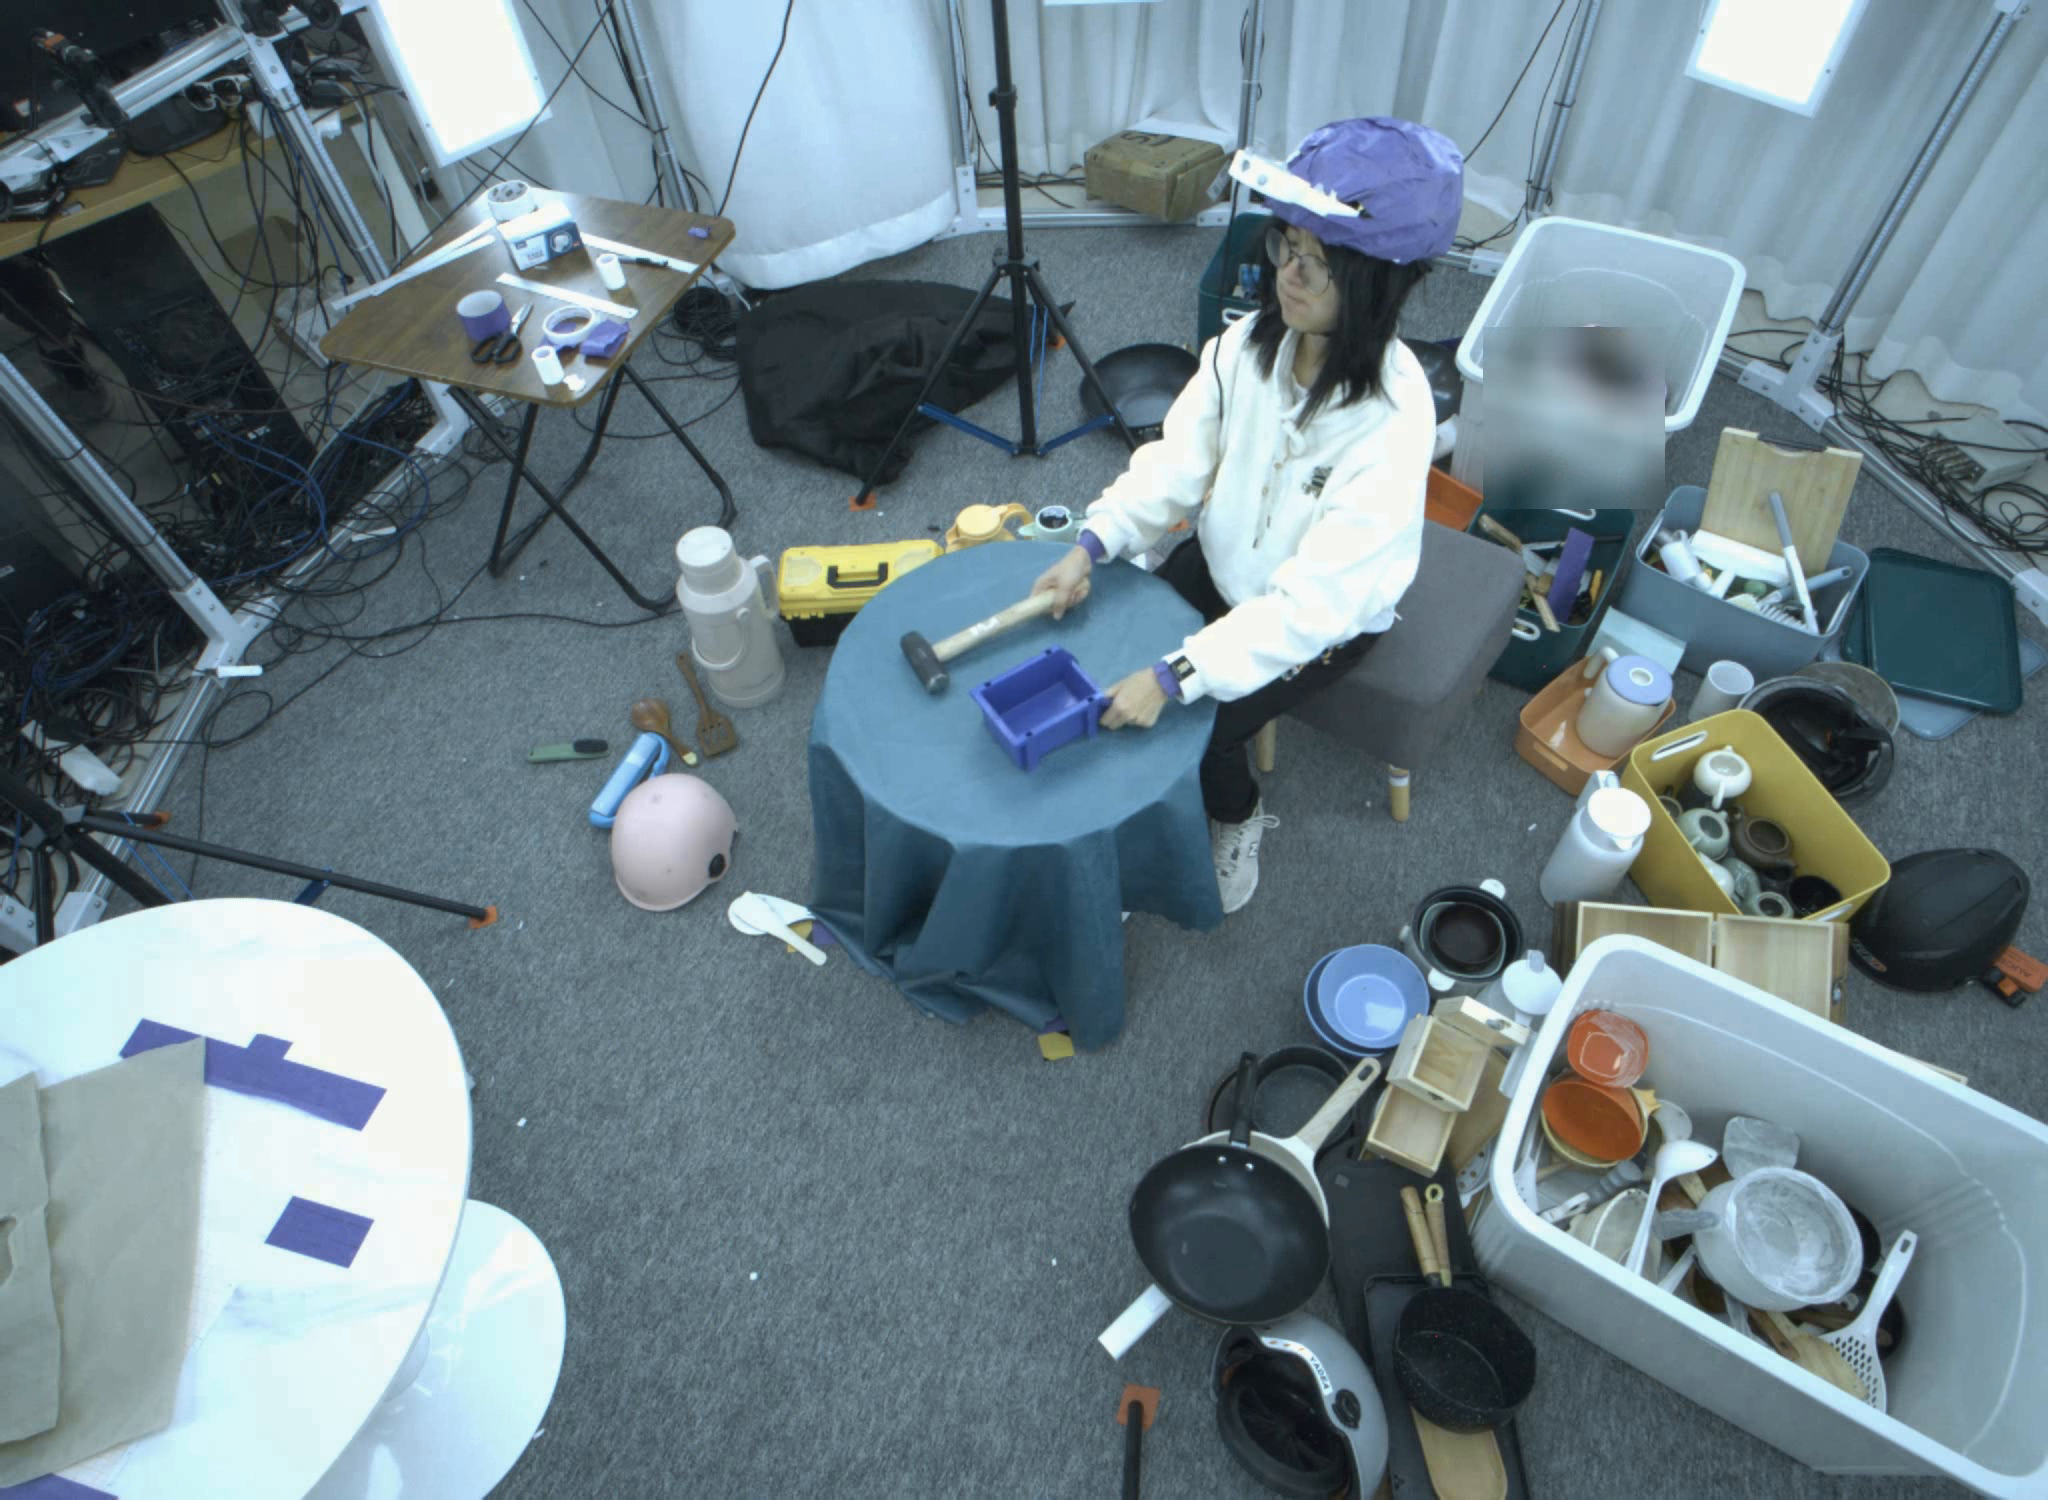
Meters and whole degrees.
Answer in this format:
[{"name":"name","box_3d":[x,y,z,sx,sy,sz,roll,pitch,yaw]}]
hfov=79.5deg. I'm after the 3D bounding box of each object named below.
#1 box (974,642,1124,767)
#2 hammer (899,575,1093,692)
[{"name":"box","box_3d":[0.037,-0.071,1.785,0.180,0.083,0.122,-31,60,-15]},{"name":"hammer","box_3d":[-0.036,-0.194,1.888,0.307,0.039,0.105,-26,58,-10]}]
